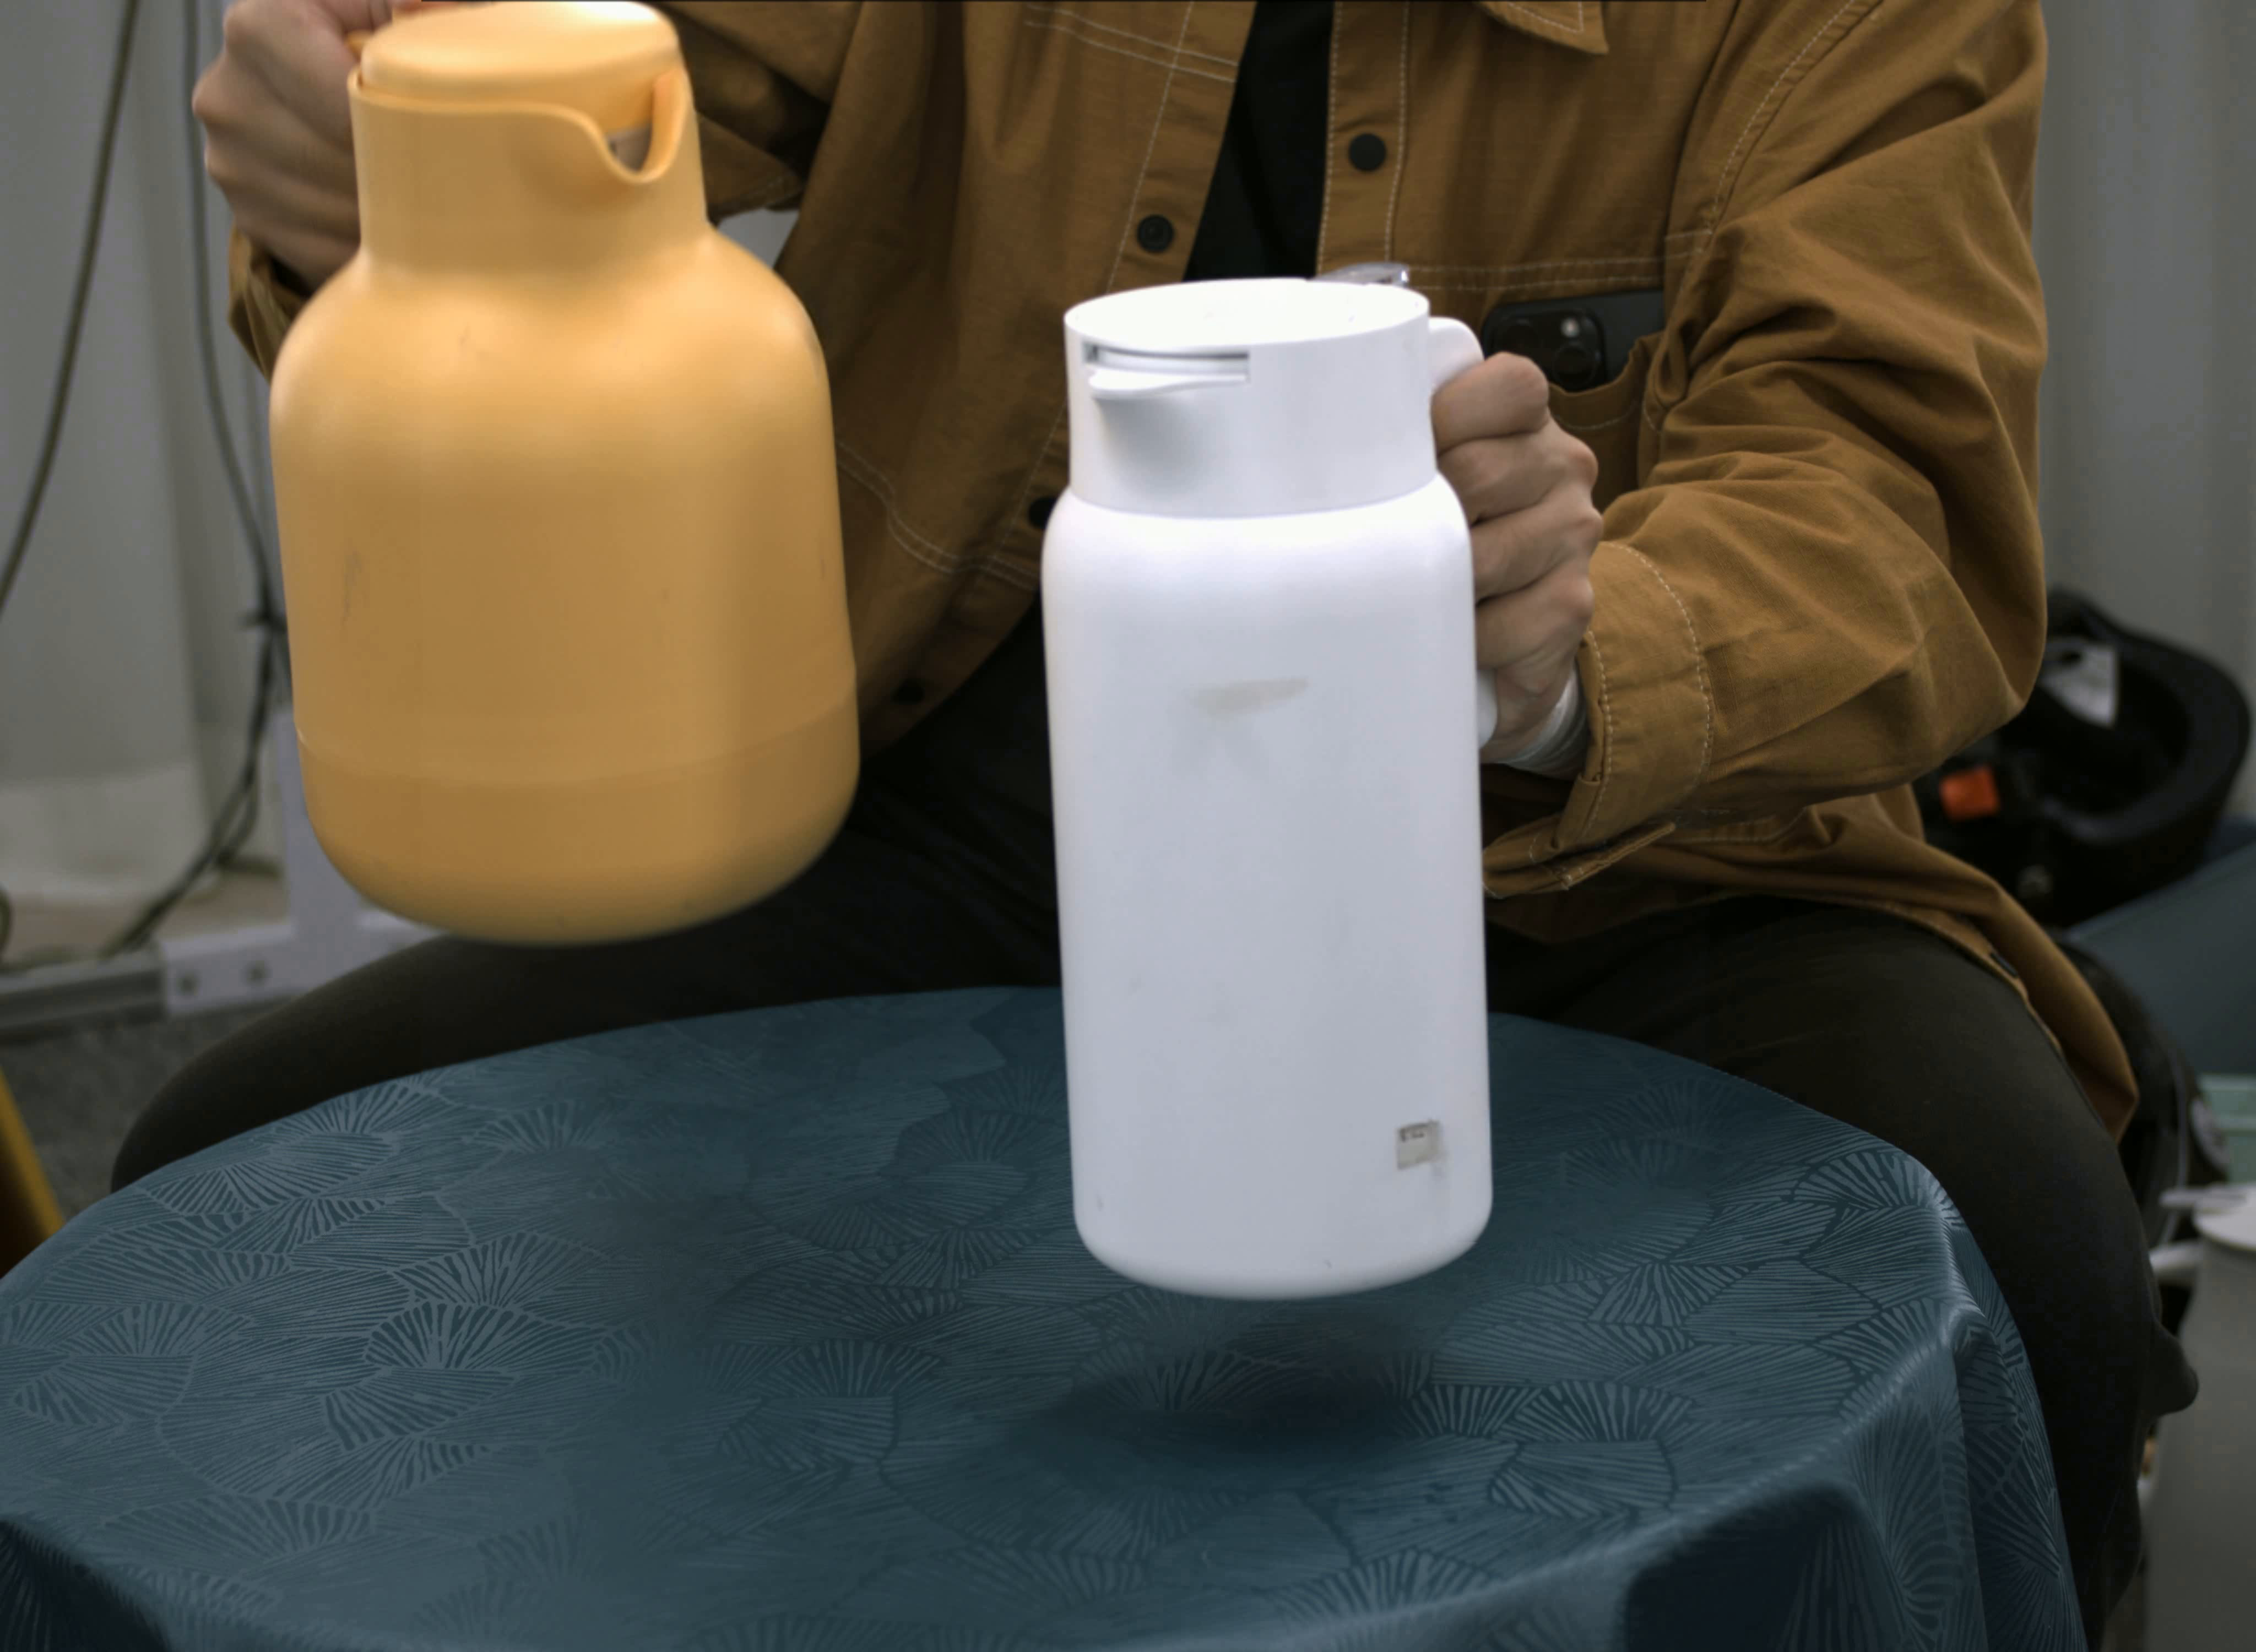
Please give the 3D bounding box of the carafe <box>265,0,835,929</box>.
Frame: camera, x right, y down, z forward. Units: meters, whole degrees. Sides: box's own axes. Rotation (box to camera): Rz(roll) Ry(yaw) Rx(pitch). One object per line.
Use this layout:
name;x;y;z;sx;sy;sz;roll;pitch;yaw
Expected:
carafe;-0.175;-0.117;1.587;0.163;0.259;0.204;-10;23;-29

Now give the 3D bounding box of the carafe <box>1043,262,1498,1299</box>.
carafe;0.046;-0.017;1.508;0.124;0.268;0.173;4;15;33
